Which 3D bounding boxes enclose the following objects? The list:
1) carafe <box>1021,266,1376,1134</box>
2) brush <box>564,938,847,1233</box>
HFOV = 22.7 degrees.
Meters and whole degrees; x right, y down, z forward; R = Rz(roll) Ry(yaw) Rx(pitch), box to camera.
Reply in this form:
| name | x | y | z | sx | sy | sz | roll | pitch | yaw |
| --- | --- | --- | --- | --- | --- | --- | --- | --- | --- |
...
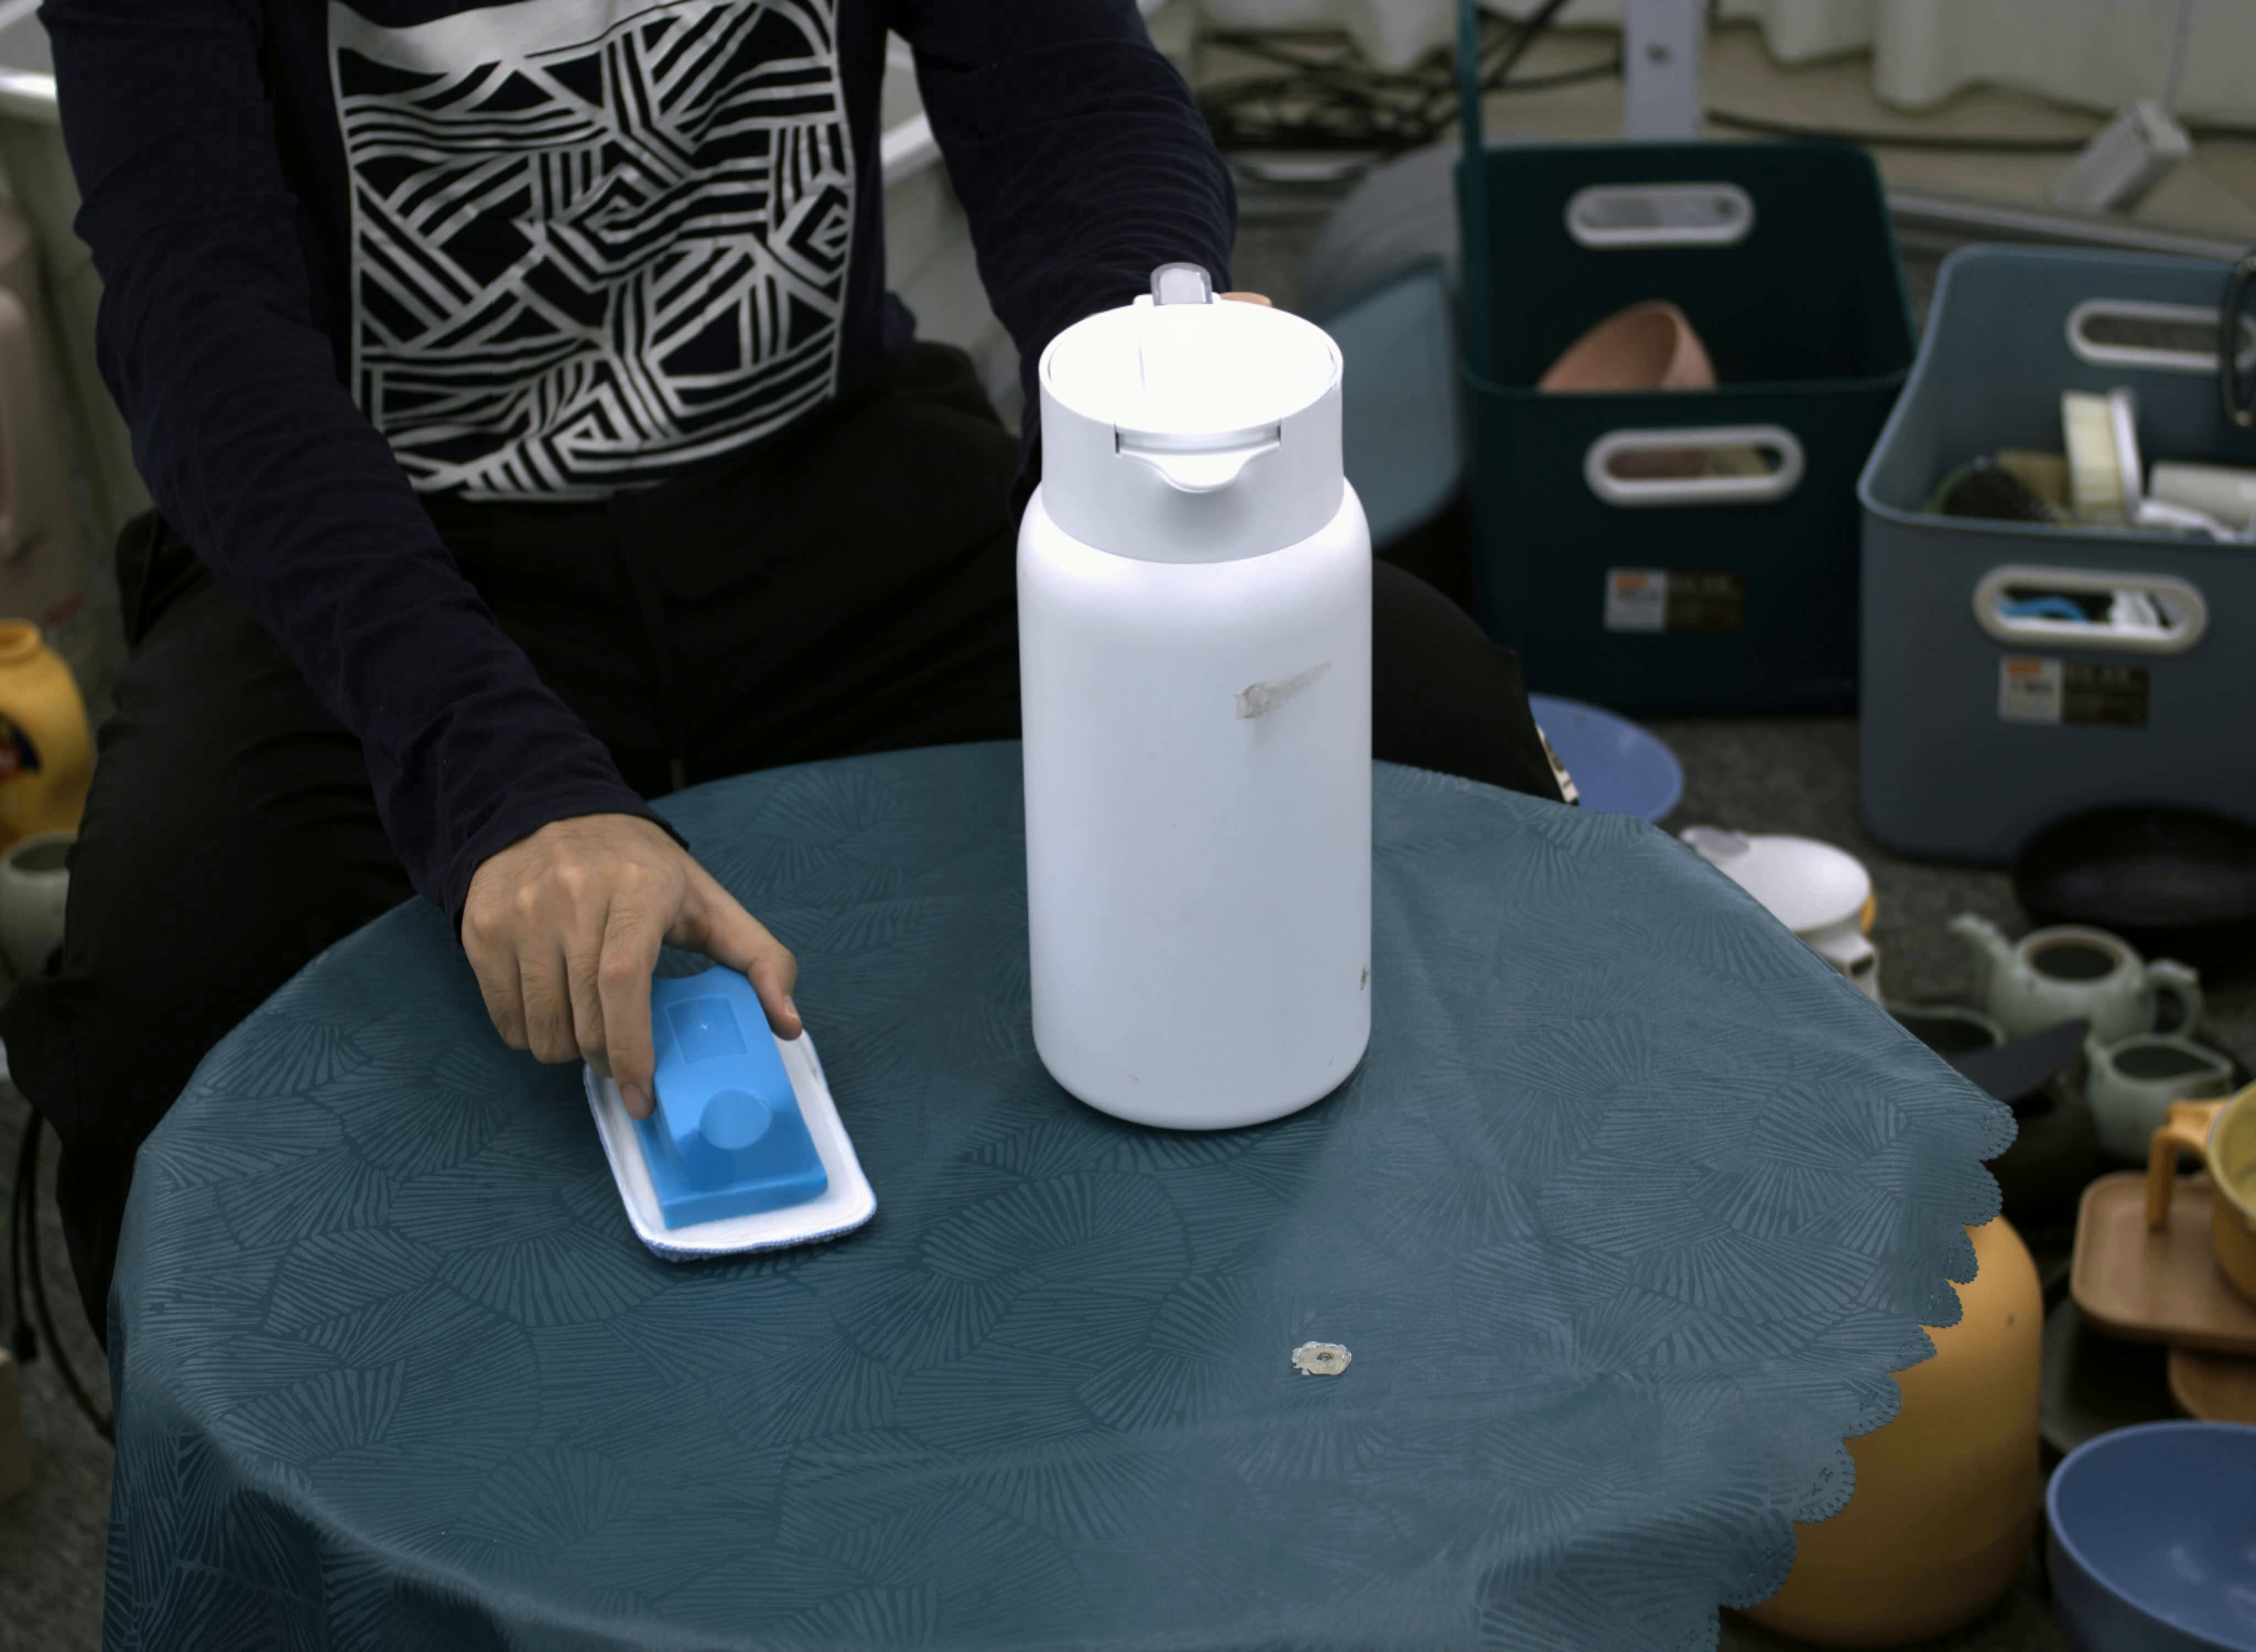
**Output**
| name | x | y | z | sx | sy | sz | roll | pitch | yaw |
| --- | --- | --- | --- | --- | --- | --- | --- | --- | --- |
| carafe | 0.021 | -0.045 | 1.887 | 0.123 | 0.266 | 0.175 | -5 | 29 | -2 |
| brush | -0.141 | 0.083 | 1.881 | 0.084 | 0.055 | 0.146 | -5 | 30 | -12 |
